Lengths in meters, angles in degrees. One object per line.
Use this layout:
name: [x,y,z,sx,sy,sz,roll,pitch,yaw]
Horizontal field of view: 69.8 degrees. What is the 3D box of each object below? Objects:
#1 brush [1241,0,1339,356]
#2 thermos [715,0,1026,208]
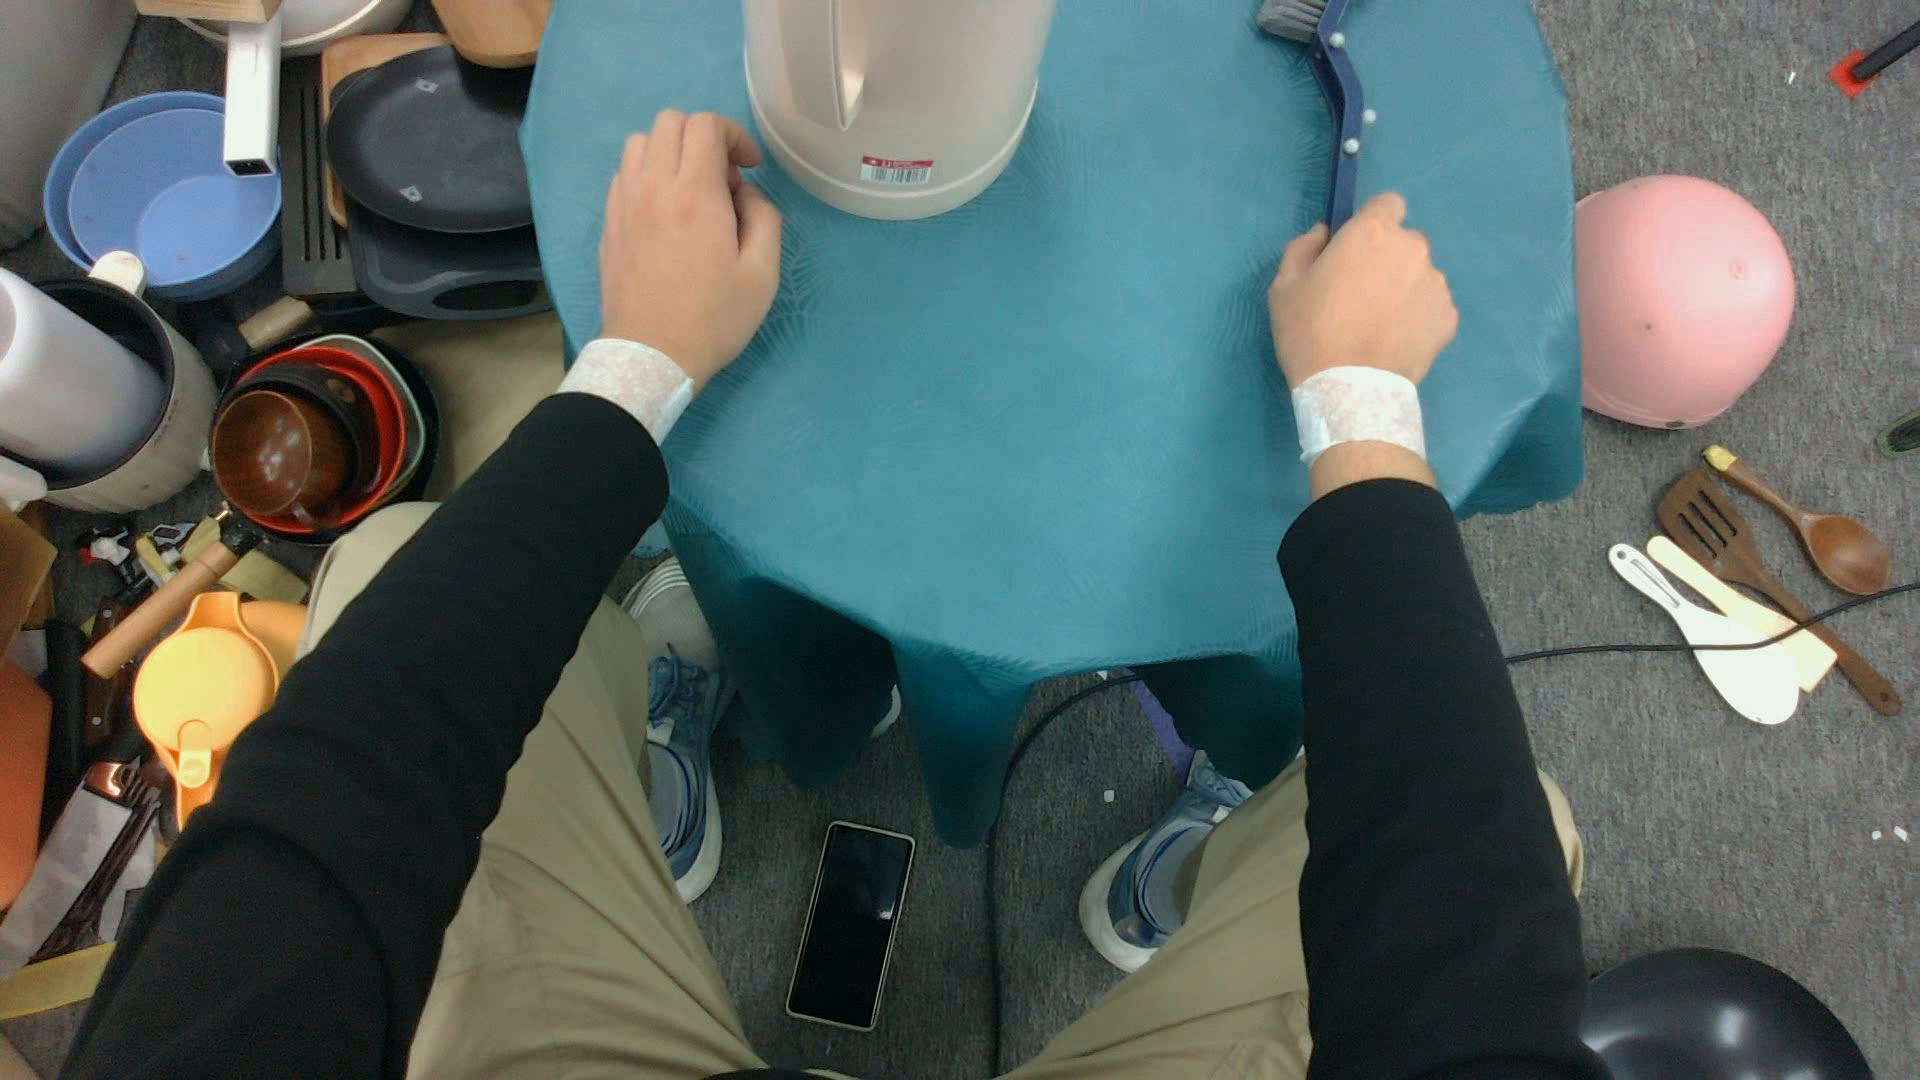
brush: [0.213,-0.236,0.789,0.096,0.033,0.274,1,76,-6]
thermos: [-0.038,-0.286,0.585,0.175,0.405,0.207,21,77,-3]
